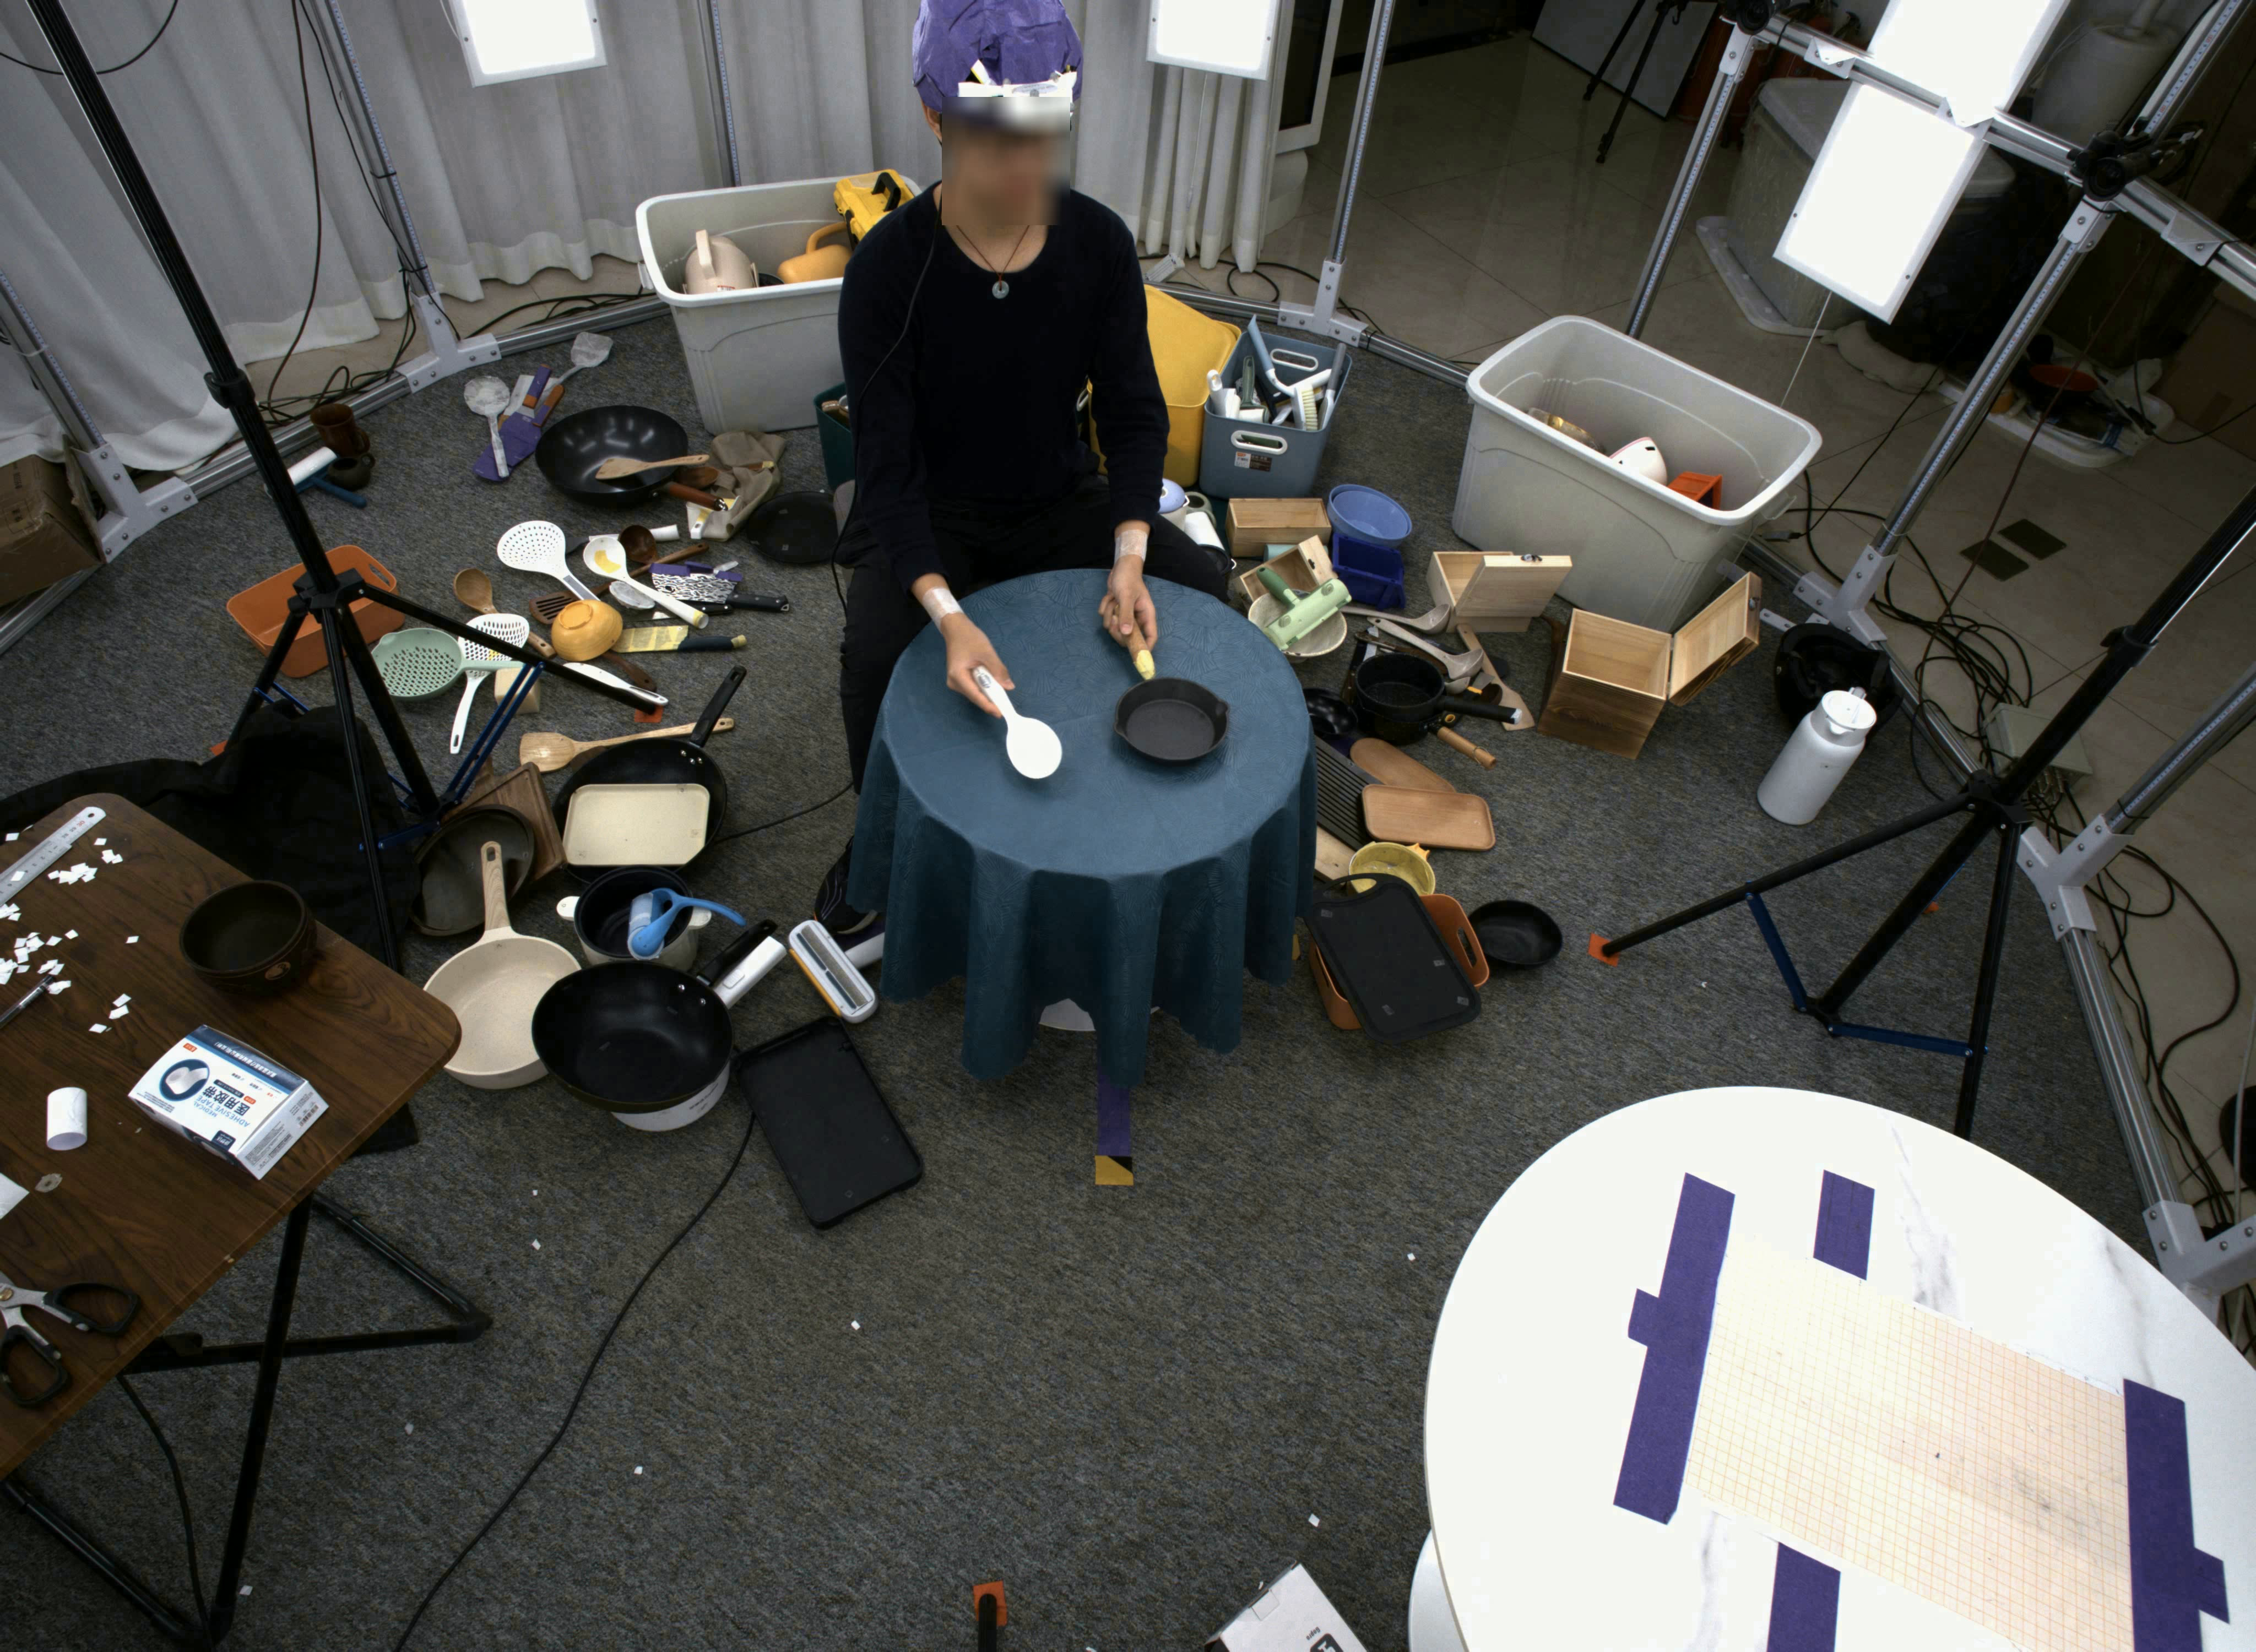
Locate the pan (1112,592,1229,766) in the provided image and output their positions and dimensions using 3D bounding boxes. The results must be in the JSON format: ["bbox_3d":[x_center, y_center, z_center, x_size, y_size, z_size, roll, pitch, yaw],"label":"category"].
[{"bbox_3d":[0.035,-0.210,1.820,0.169,0.048,0.332,-11,52,-13],"label":"pan"}]

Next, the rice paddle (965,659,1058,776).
[{"bbox_3d":[-0.157,-0.147,1.721,0.068,0.029,0.209,-41,61,9],"label":"rice paddle"}]
